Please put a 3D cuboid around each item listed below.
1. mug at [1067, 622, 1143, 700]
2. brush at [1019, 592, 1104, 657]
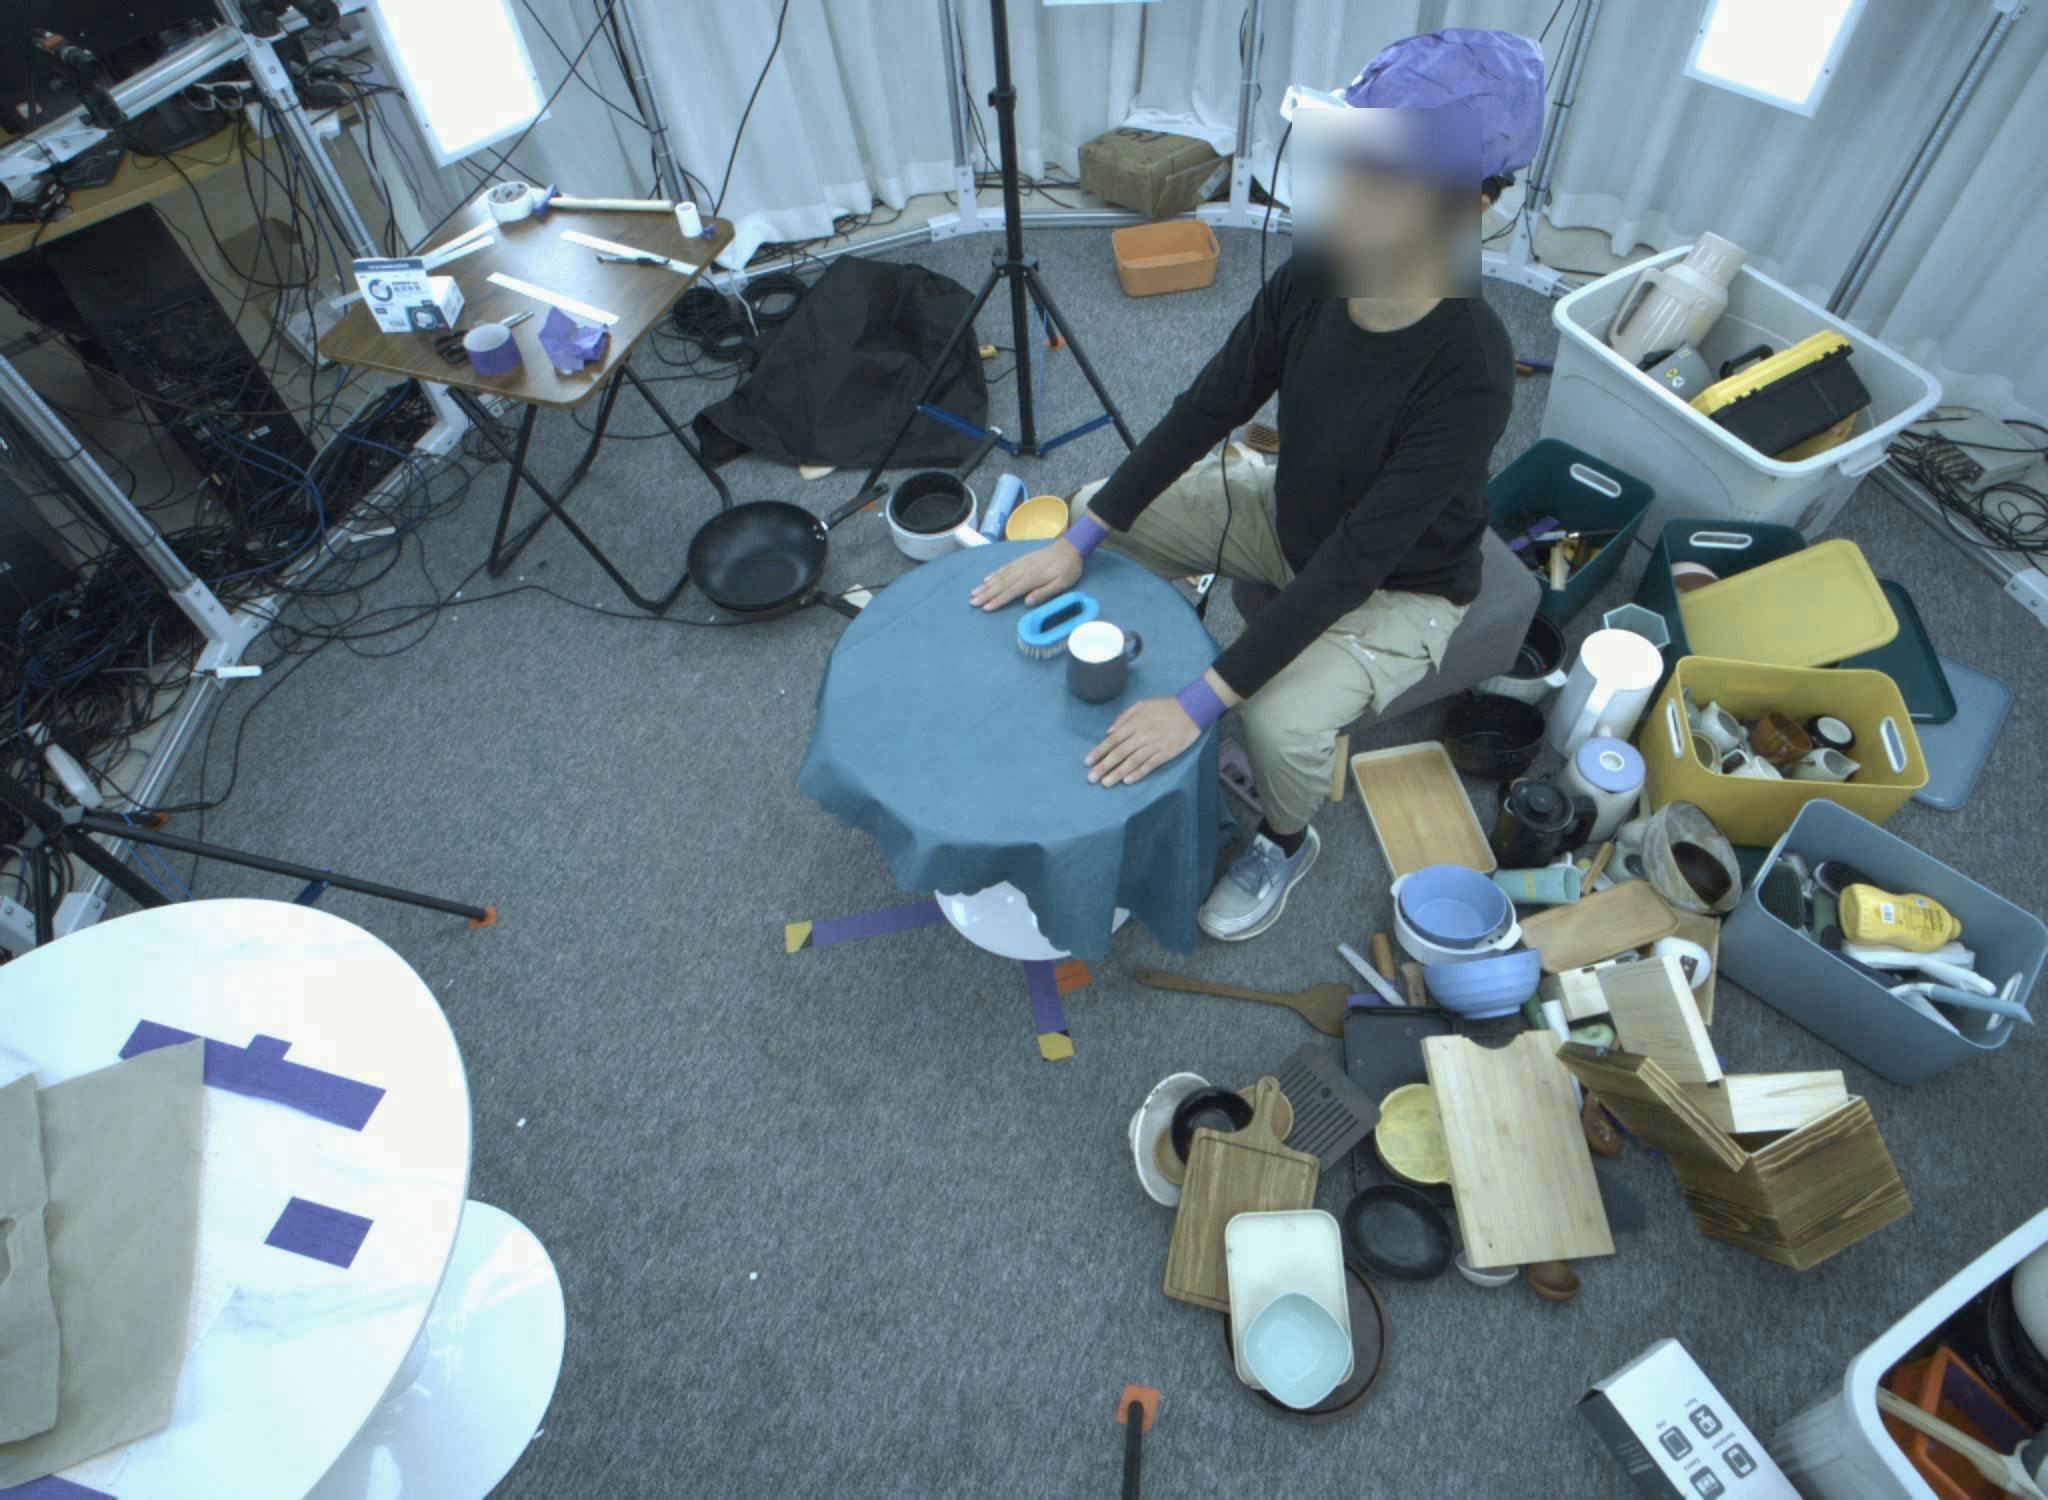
[{"bbox_3d":[0.122,-0.138,1.825,0.124,0.091,0.092,-25,58,-12],"label":"mug"},{"bbox_3d":[0.055,-0.204,1.892,0.143,0.064,0.082,-28,53,-18],"label":"brush"}]
